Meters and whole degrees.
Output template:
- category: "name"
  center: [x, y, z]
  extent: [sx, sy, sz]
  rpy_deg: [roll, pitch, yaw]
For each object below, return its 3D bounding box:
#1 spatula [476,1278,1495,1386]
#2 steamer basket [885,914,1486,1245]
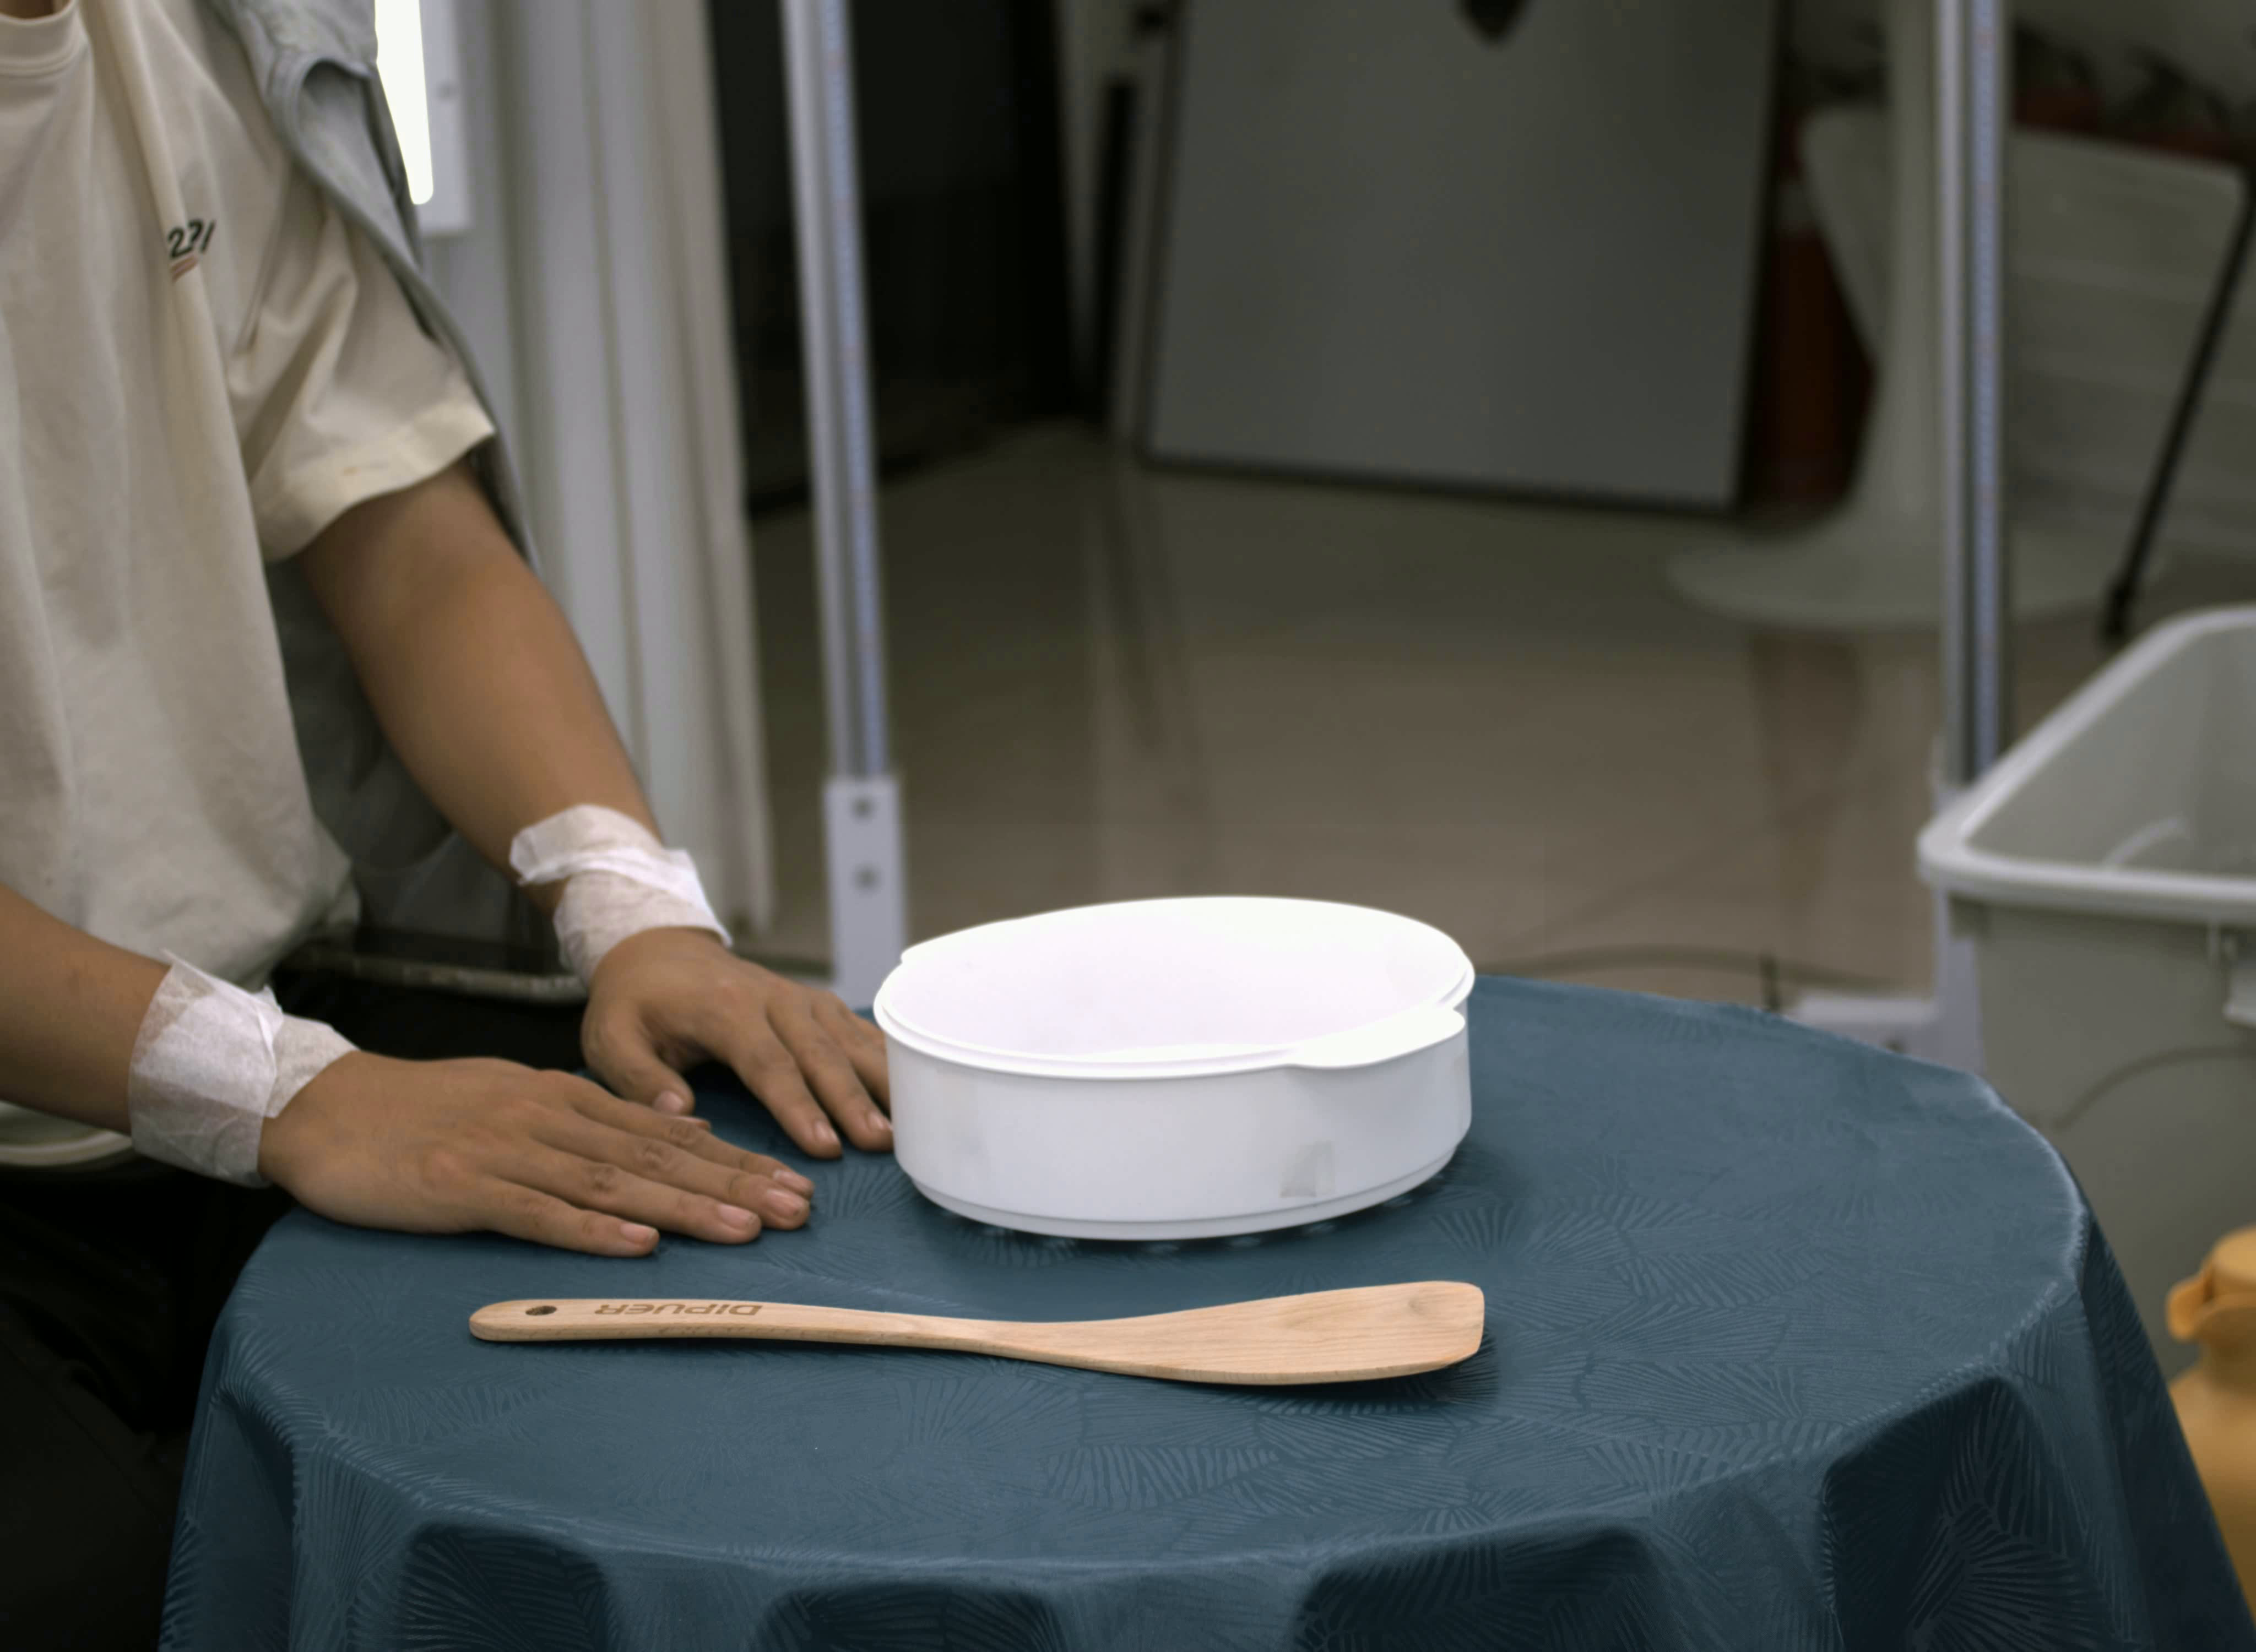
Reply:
- category: "spatula"
  center: [-0.044, 0.151, 1.631]
  extent: [0.326, 0.017, 0.079]
  rpy_deg: [0, 13, 16]
- category: "steamer basket"
  center: [0.020, 0.084, 1.785]
  extent: [0.197, 0.070, 0.233]
  rpy_deg: [-13, 16, -39]
